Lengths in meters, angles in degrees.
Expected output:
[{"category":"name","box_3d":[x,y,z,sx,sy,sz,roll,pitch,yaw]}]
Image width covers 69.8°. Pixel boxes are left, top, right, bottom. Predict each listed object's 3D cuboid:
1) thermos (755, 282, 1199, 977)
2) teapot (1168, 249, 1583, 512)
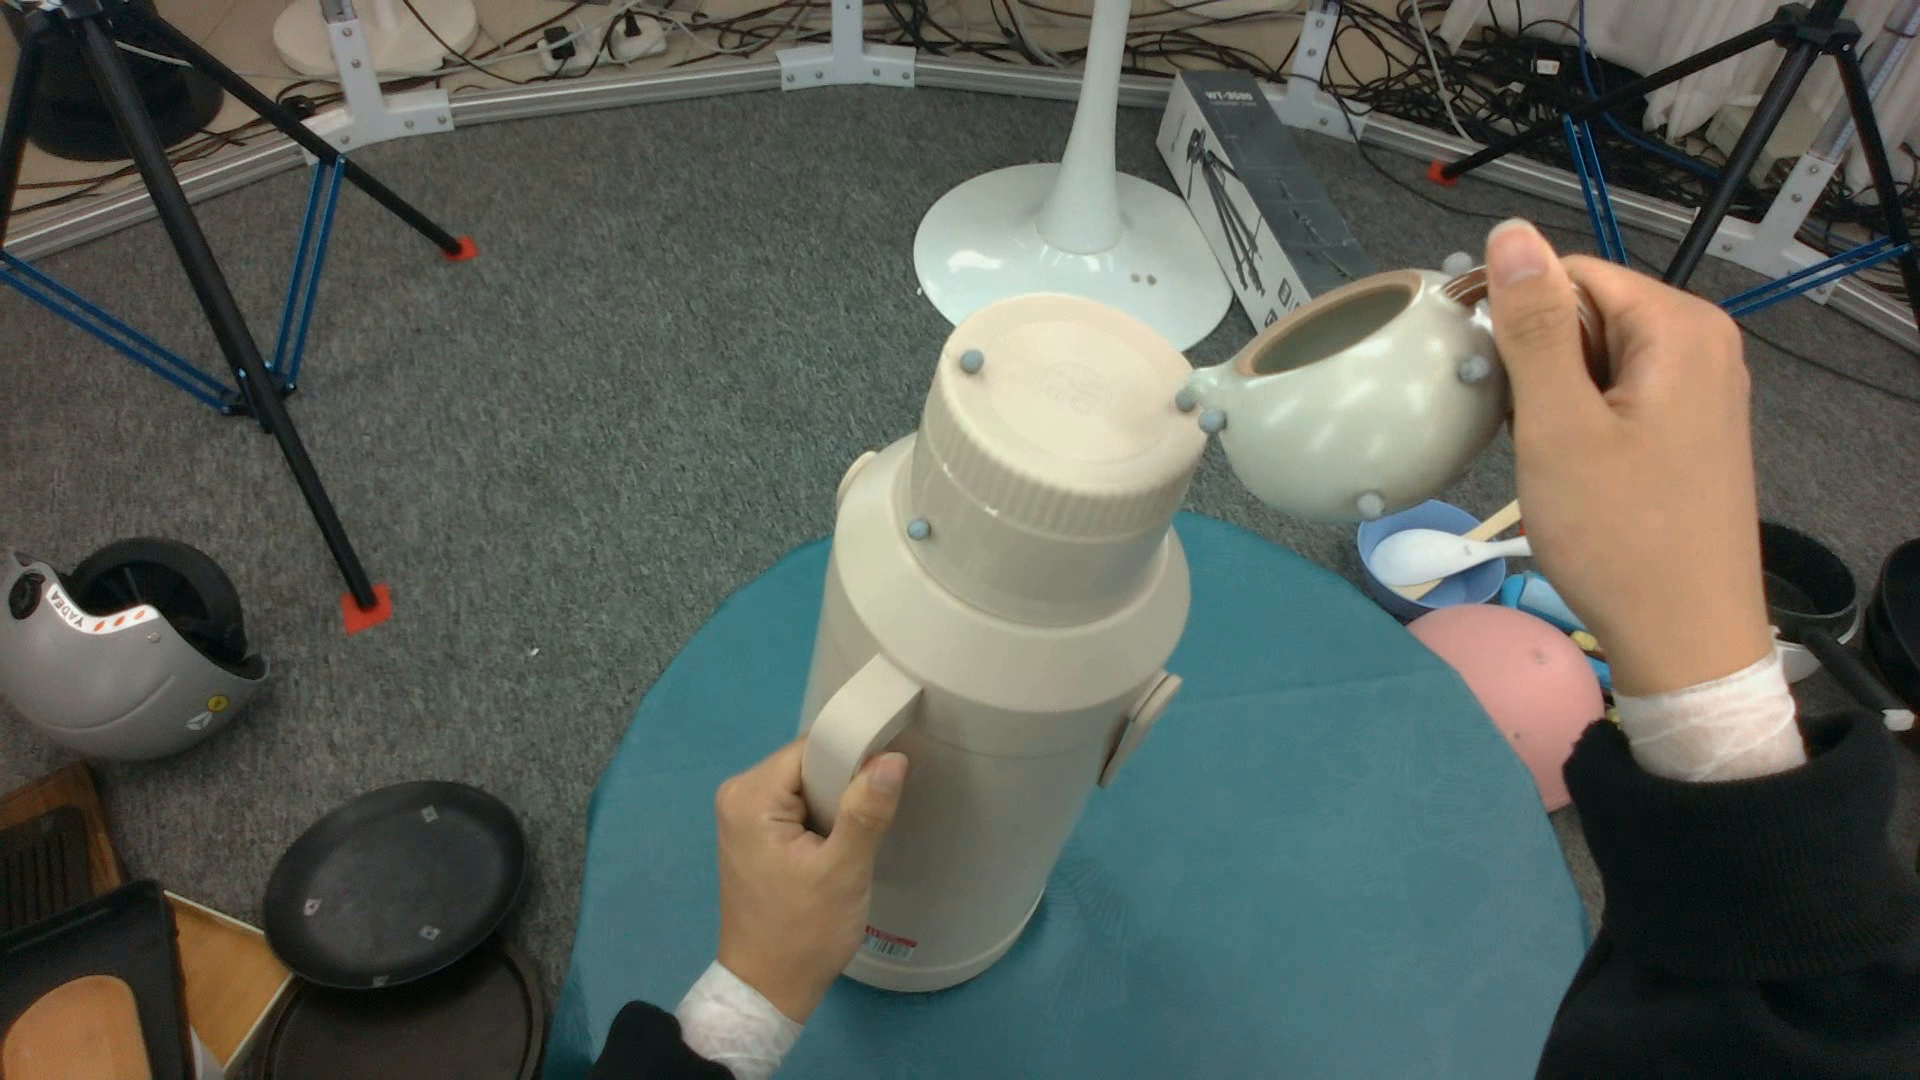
[{"category":"thermos","box_3d":[-0.011,0.068,0.655,0.175,0.404,0.208,36,52,13]},{"category":"teapot","box_3d":[0.131,-0.051,0.439,0.127,0.059,0.092,-20,18,36]}]
